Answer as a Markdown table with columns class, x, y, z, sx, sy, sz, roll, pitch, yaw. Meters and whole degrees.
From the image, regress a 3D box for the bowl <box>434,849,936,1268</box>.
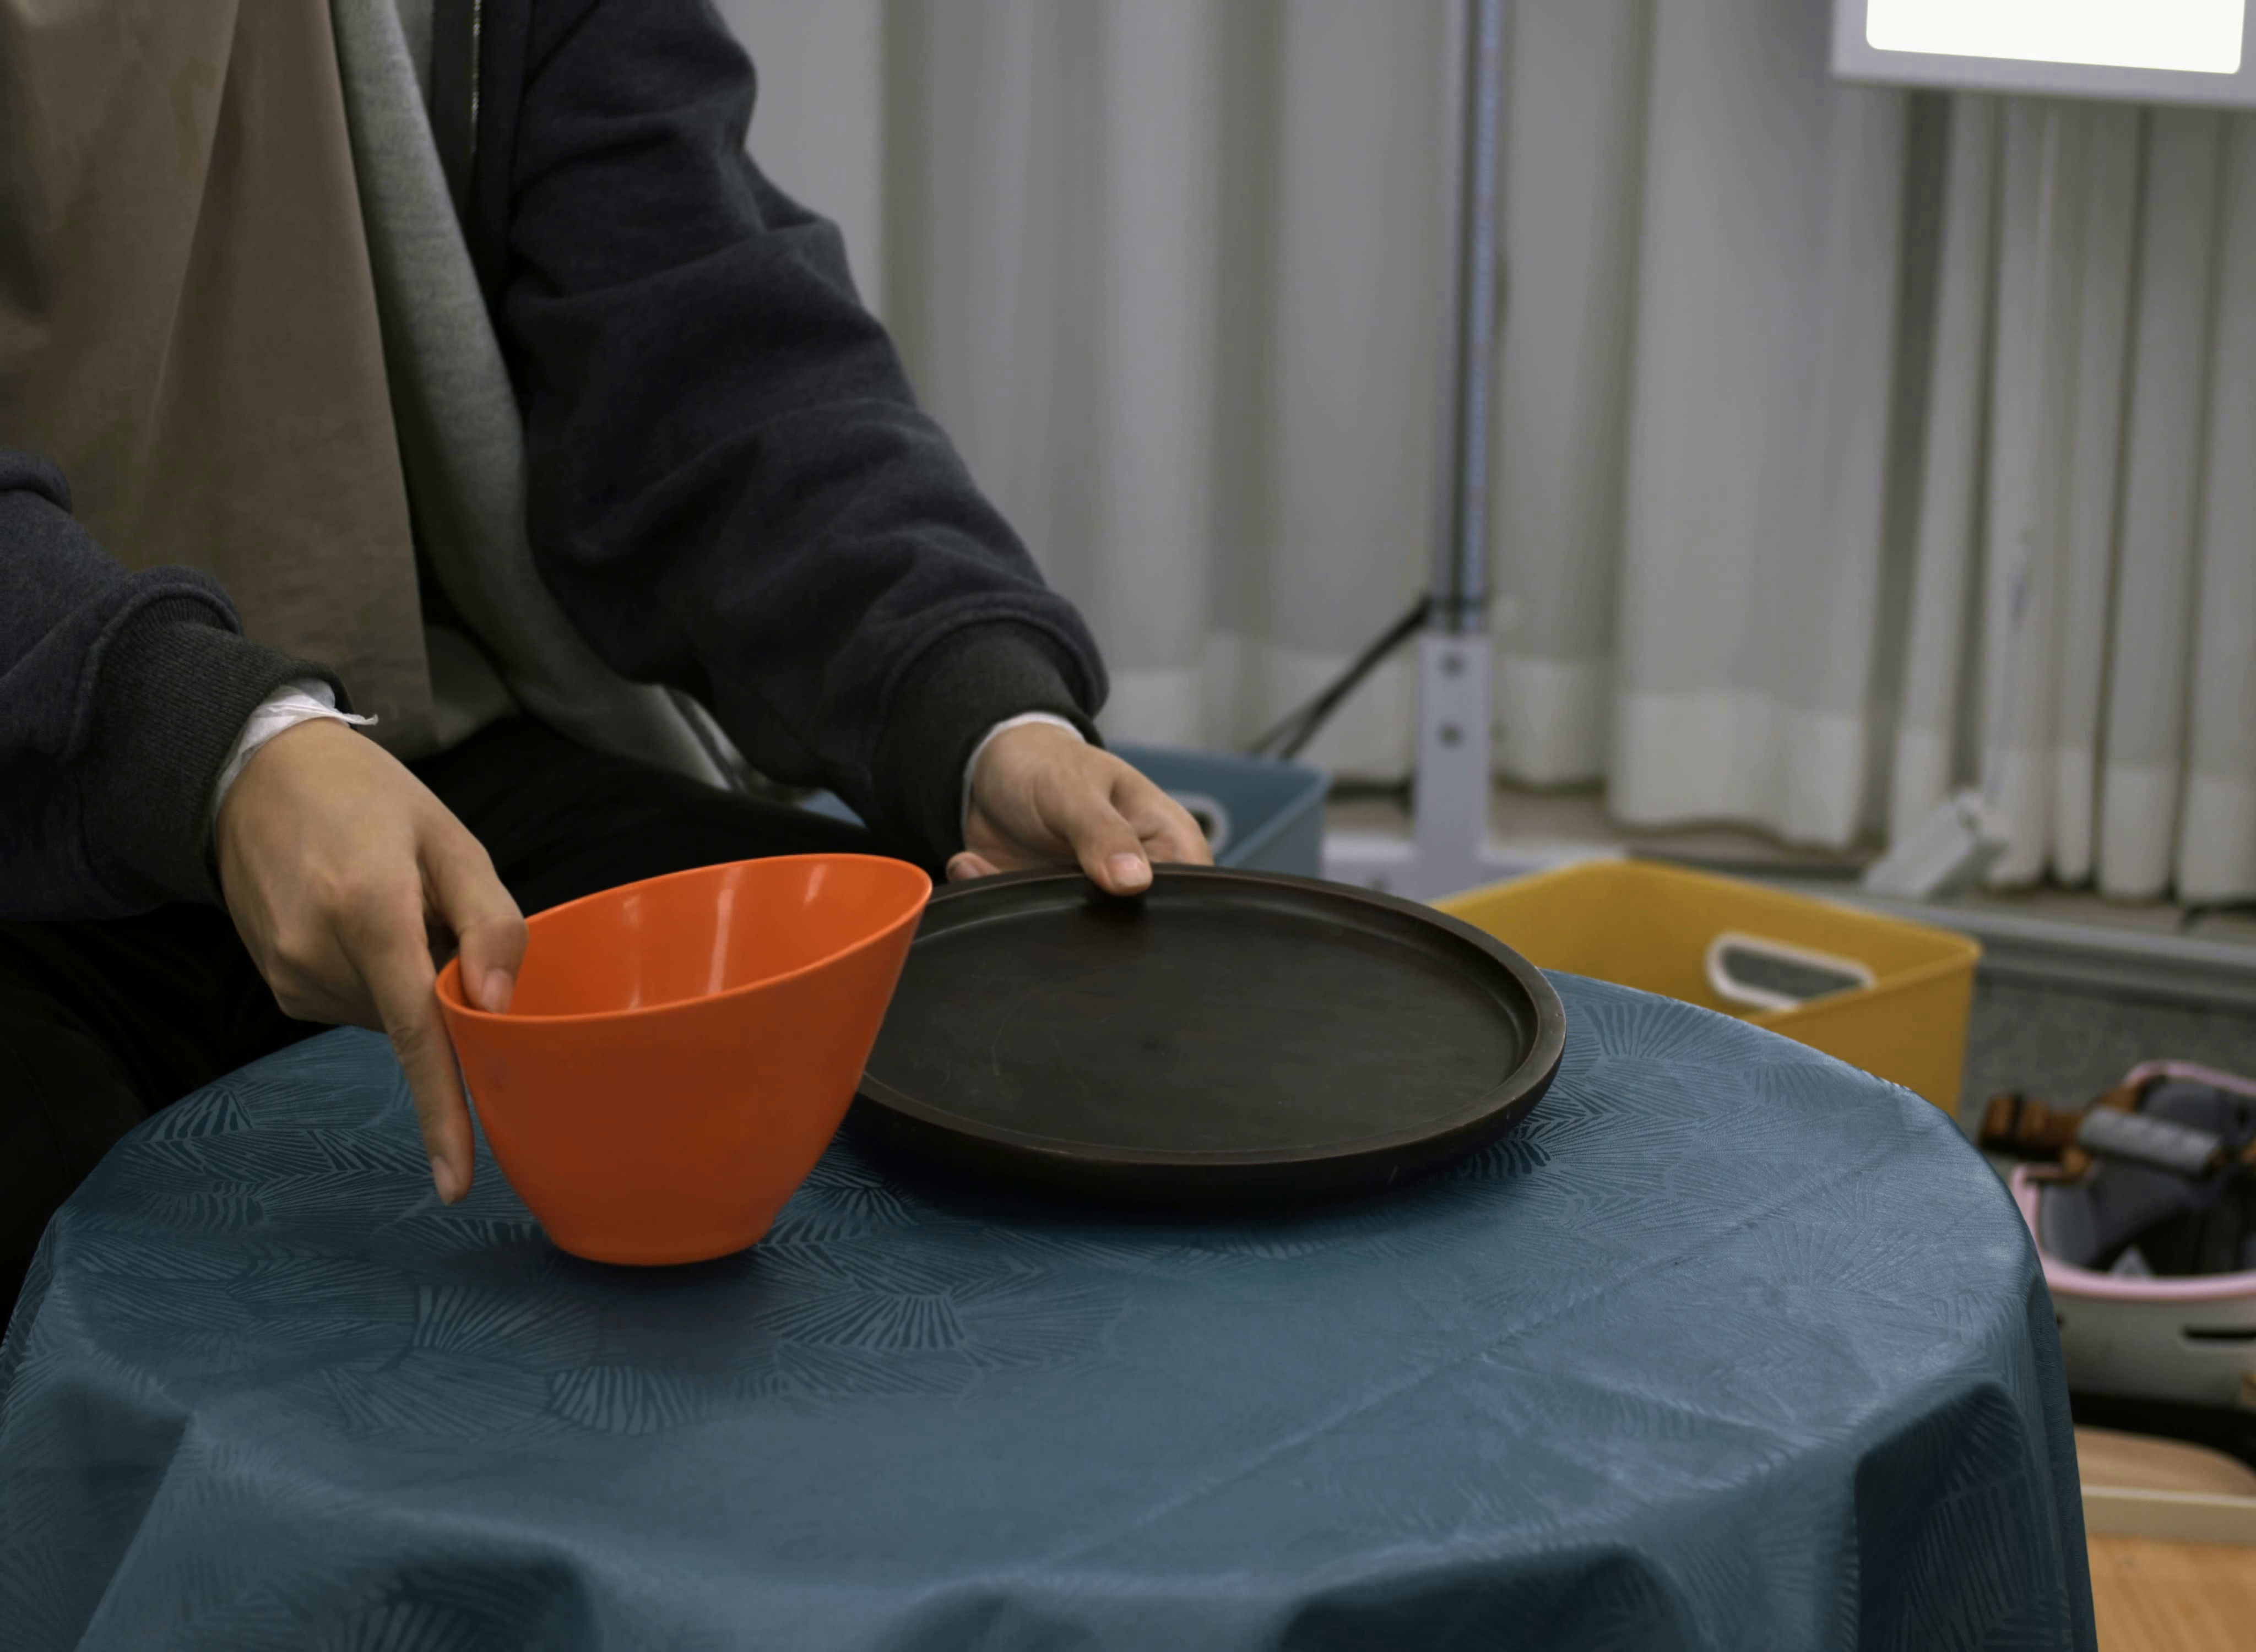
| class | x | y | z | sx | sy | sz | roll | pitch | yaw |
| --- | --- | --- | --- | --- | --- | --- | --- | --- | --- |
| bowl | -0.129 | 0.070 | 1.547 | 0.147 | 0.105 | 0.147 | 0 | 18 | 1 |

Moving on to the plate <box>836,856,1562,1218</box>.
| class | x | y | z | sx | sy | sz | roll | pitch | yaw |
| --- | --- | --- | --- | --- | --- | --- | --- | --- | --- |
| plate | 0.014 | 0.066 | 1.696 | 0.254 | 0.029 | 0.253 | 2 | 22 | 0 |
